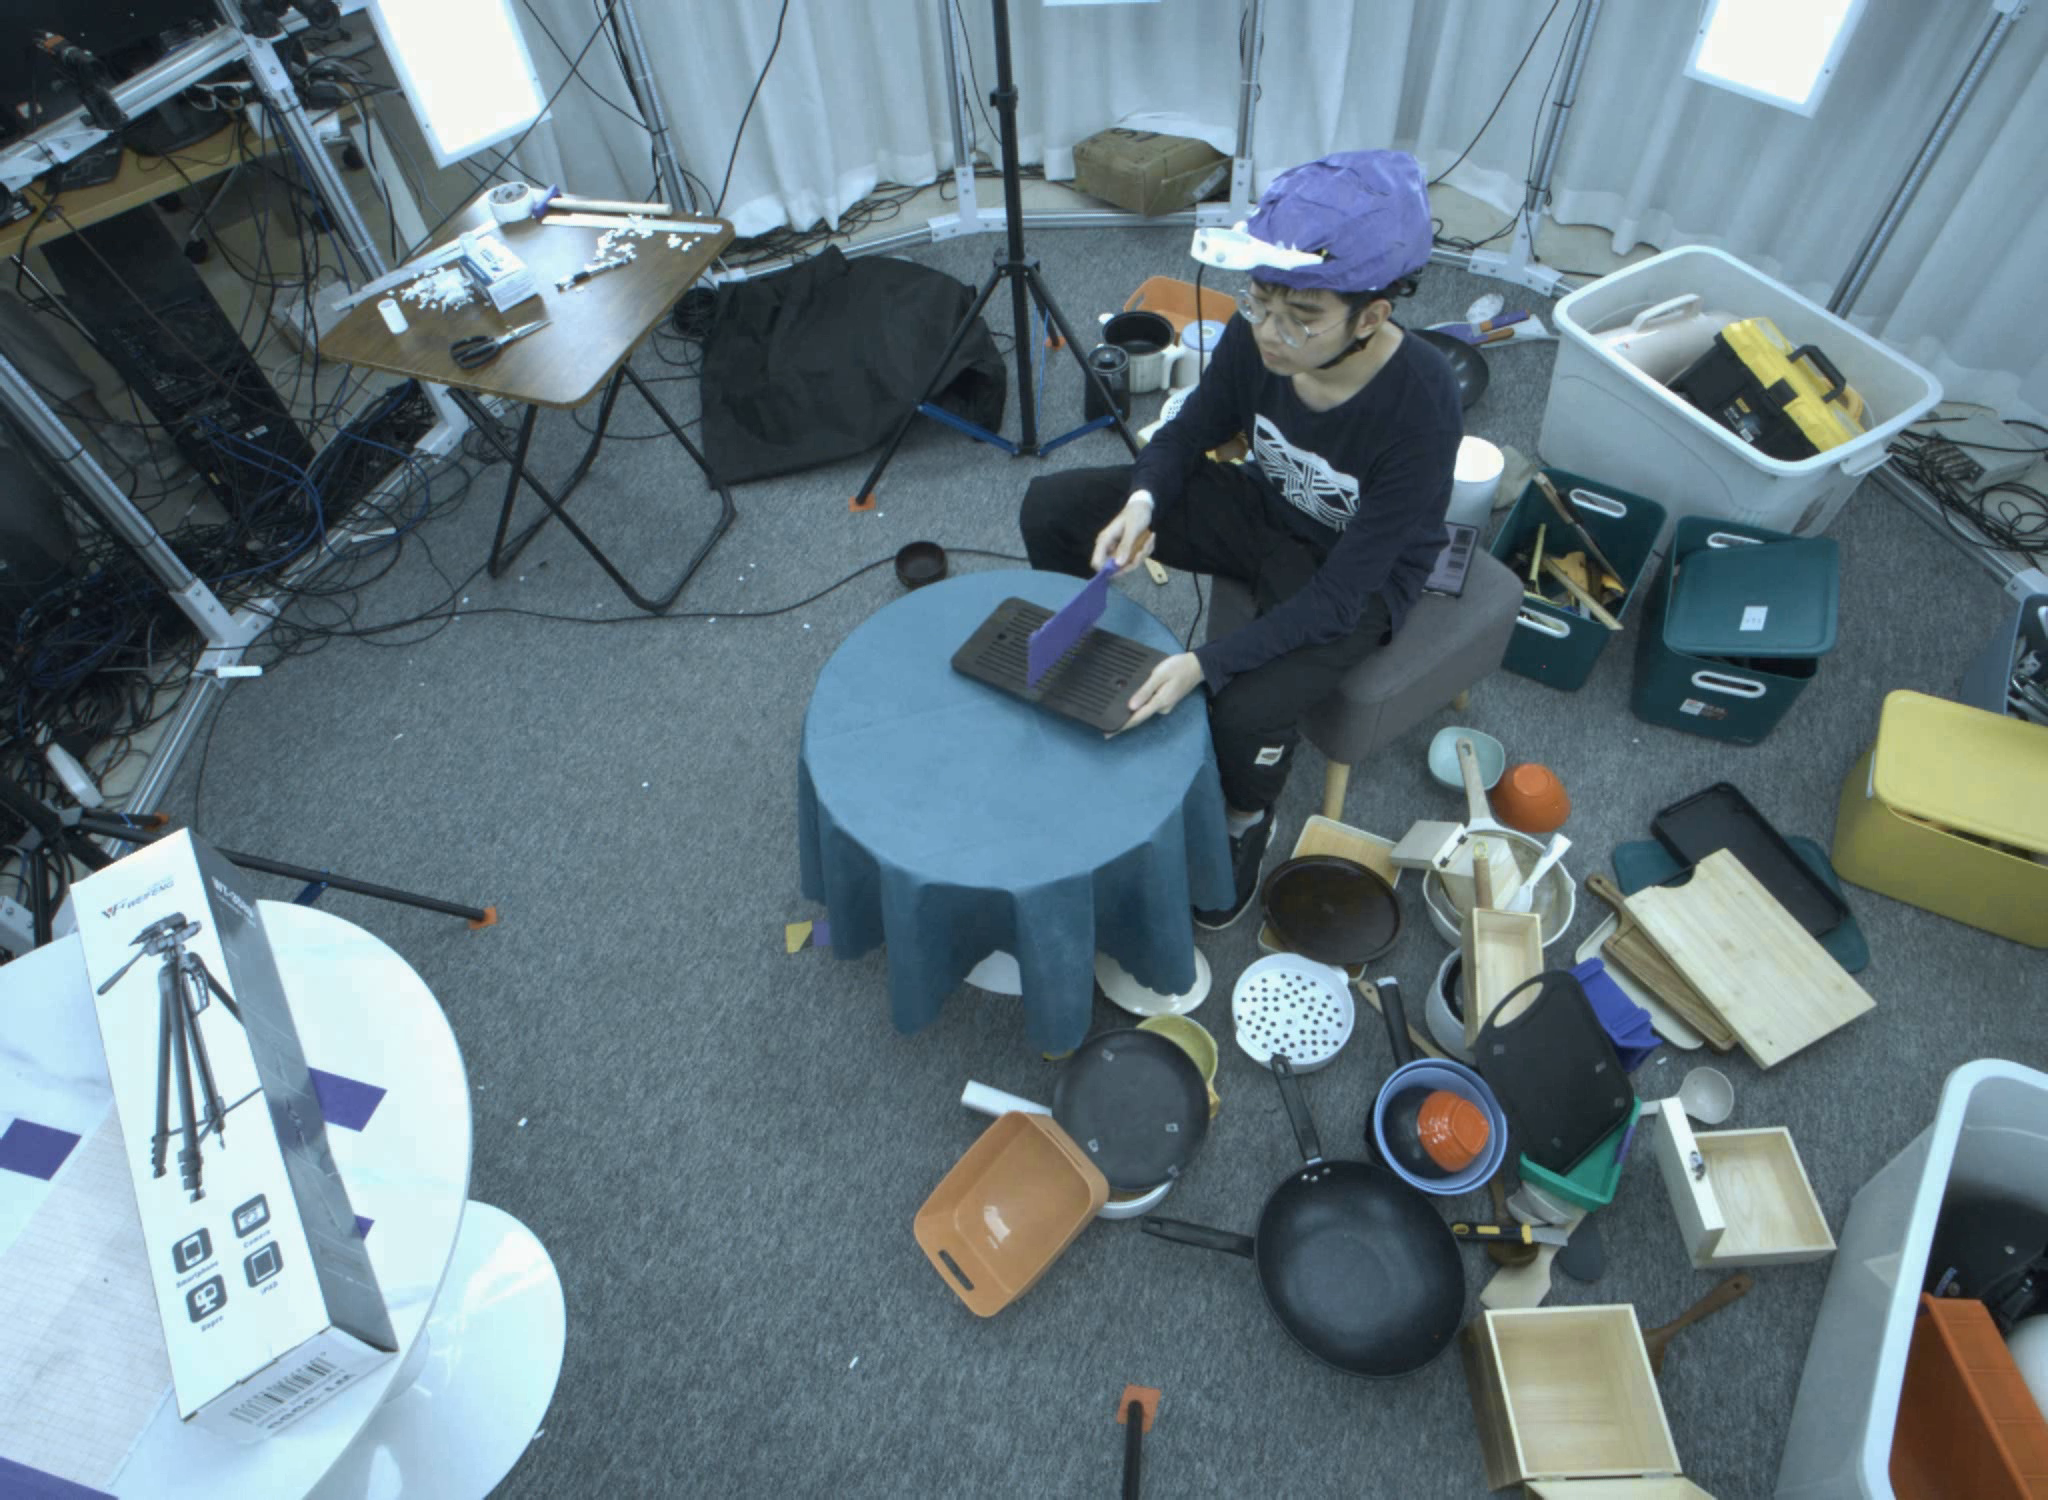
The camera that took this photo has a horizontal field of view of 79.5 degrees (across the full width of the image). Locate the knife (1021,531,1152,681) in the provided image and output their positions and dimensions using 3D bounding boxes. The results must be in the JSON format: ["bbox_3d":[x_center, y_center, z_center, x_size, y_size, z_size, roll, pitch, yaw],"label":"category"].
[{"bbox_3d":[0.091,-0.217,1.838,0.031,0.105,0.317,30,53,24],"label":"knife"}]

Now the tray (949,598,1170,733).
[{"bbox_3d":[0.051,-0.129,1.856,0.300,0.019,0.171,24,58,25],"label":"tray"}]
